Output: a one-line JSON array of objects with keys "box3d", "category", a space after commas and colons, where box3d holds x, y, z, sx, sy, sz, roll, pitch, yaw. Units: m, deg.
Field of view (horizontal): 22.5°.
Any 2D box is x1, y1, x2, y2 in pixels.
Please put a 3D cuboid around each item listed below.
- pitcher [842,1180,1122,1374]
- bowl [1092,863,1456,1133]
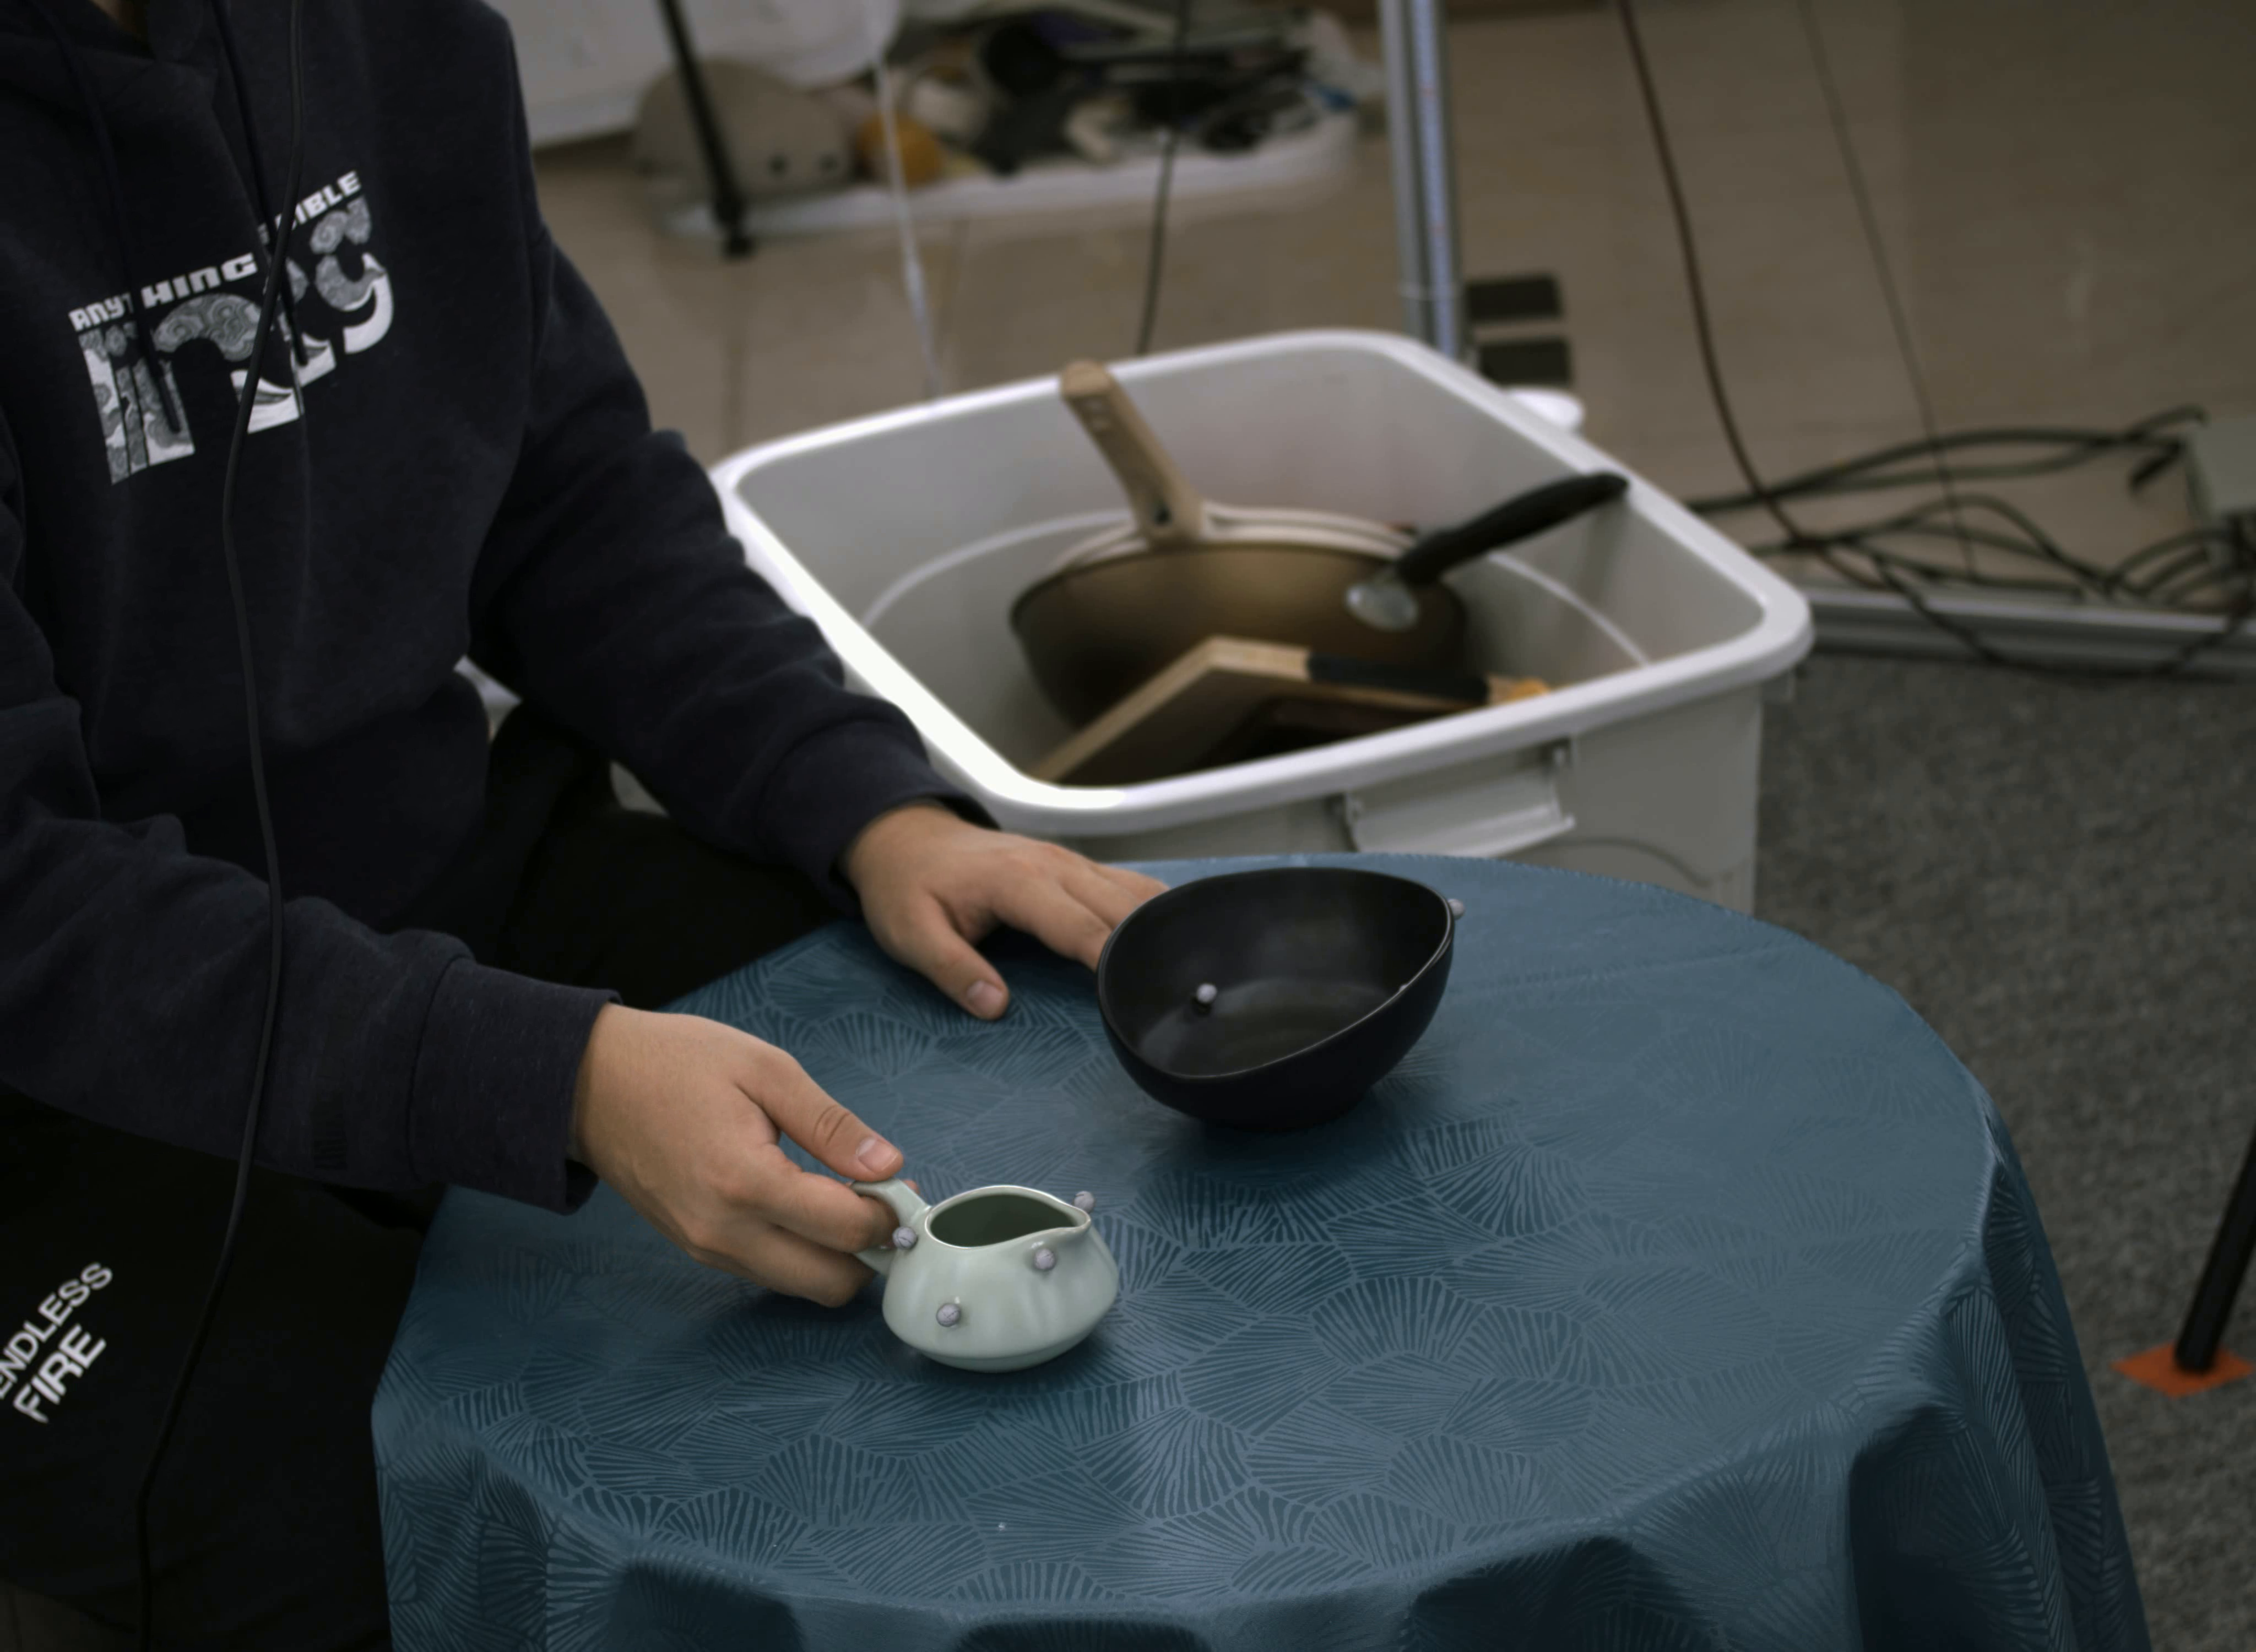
[{"box3d": [-0.056, 0.160, 2.049, 0.107, 0.061, 0.085, 5, 26, 28], "category": "pitcher"}, {"box3d": [0.059, 0.075, 2.198, 0.137, 0.068, 0.168, 3, 27, 21], "category": "bowl"}]
